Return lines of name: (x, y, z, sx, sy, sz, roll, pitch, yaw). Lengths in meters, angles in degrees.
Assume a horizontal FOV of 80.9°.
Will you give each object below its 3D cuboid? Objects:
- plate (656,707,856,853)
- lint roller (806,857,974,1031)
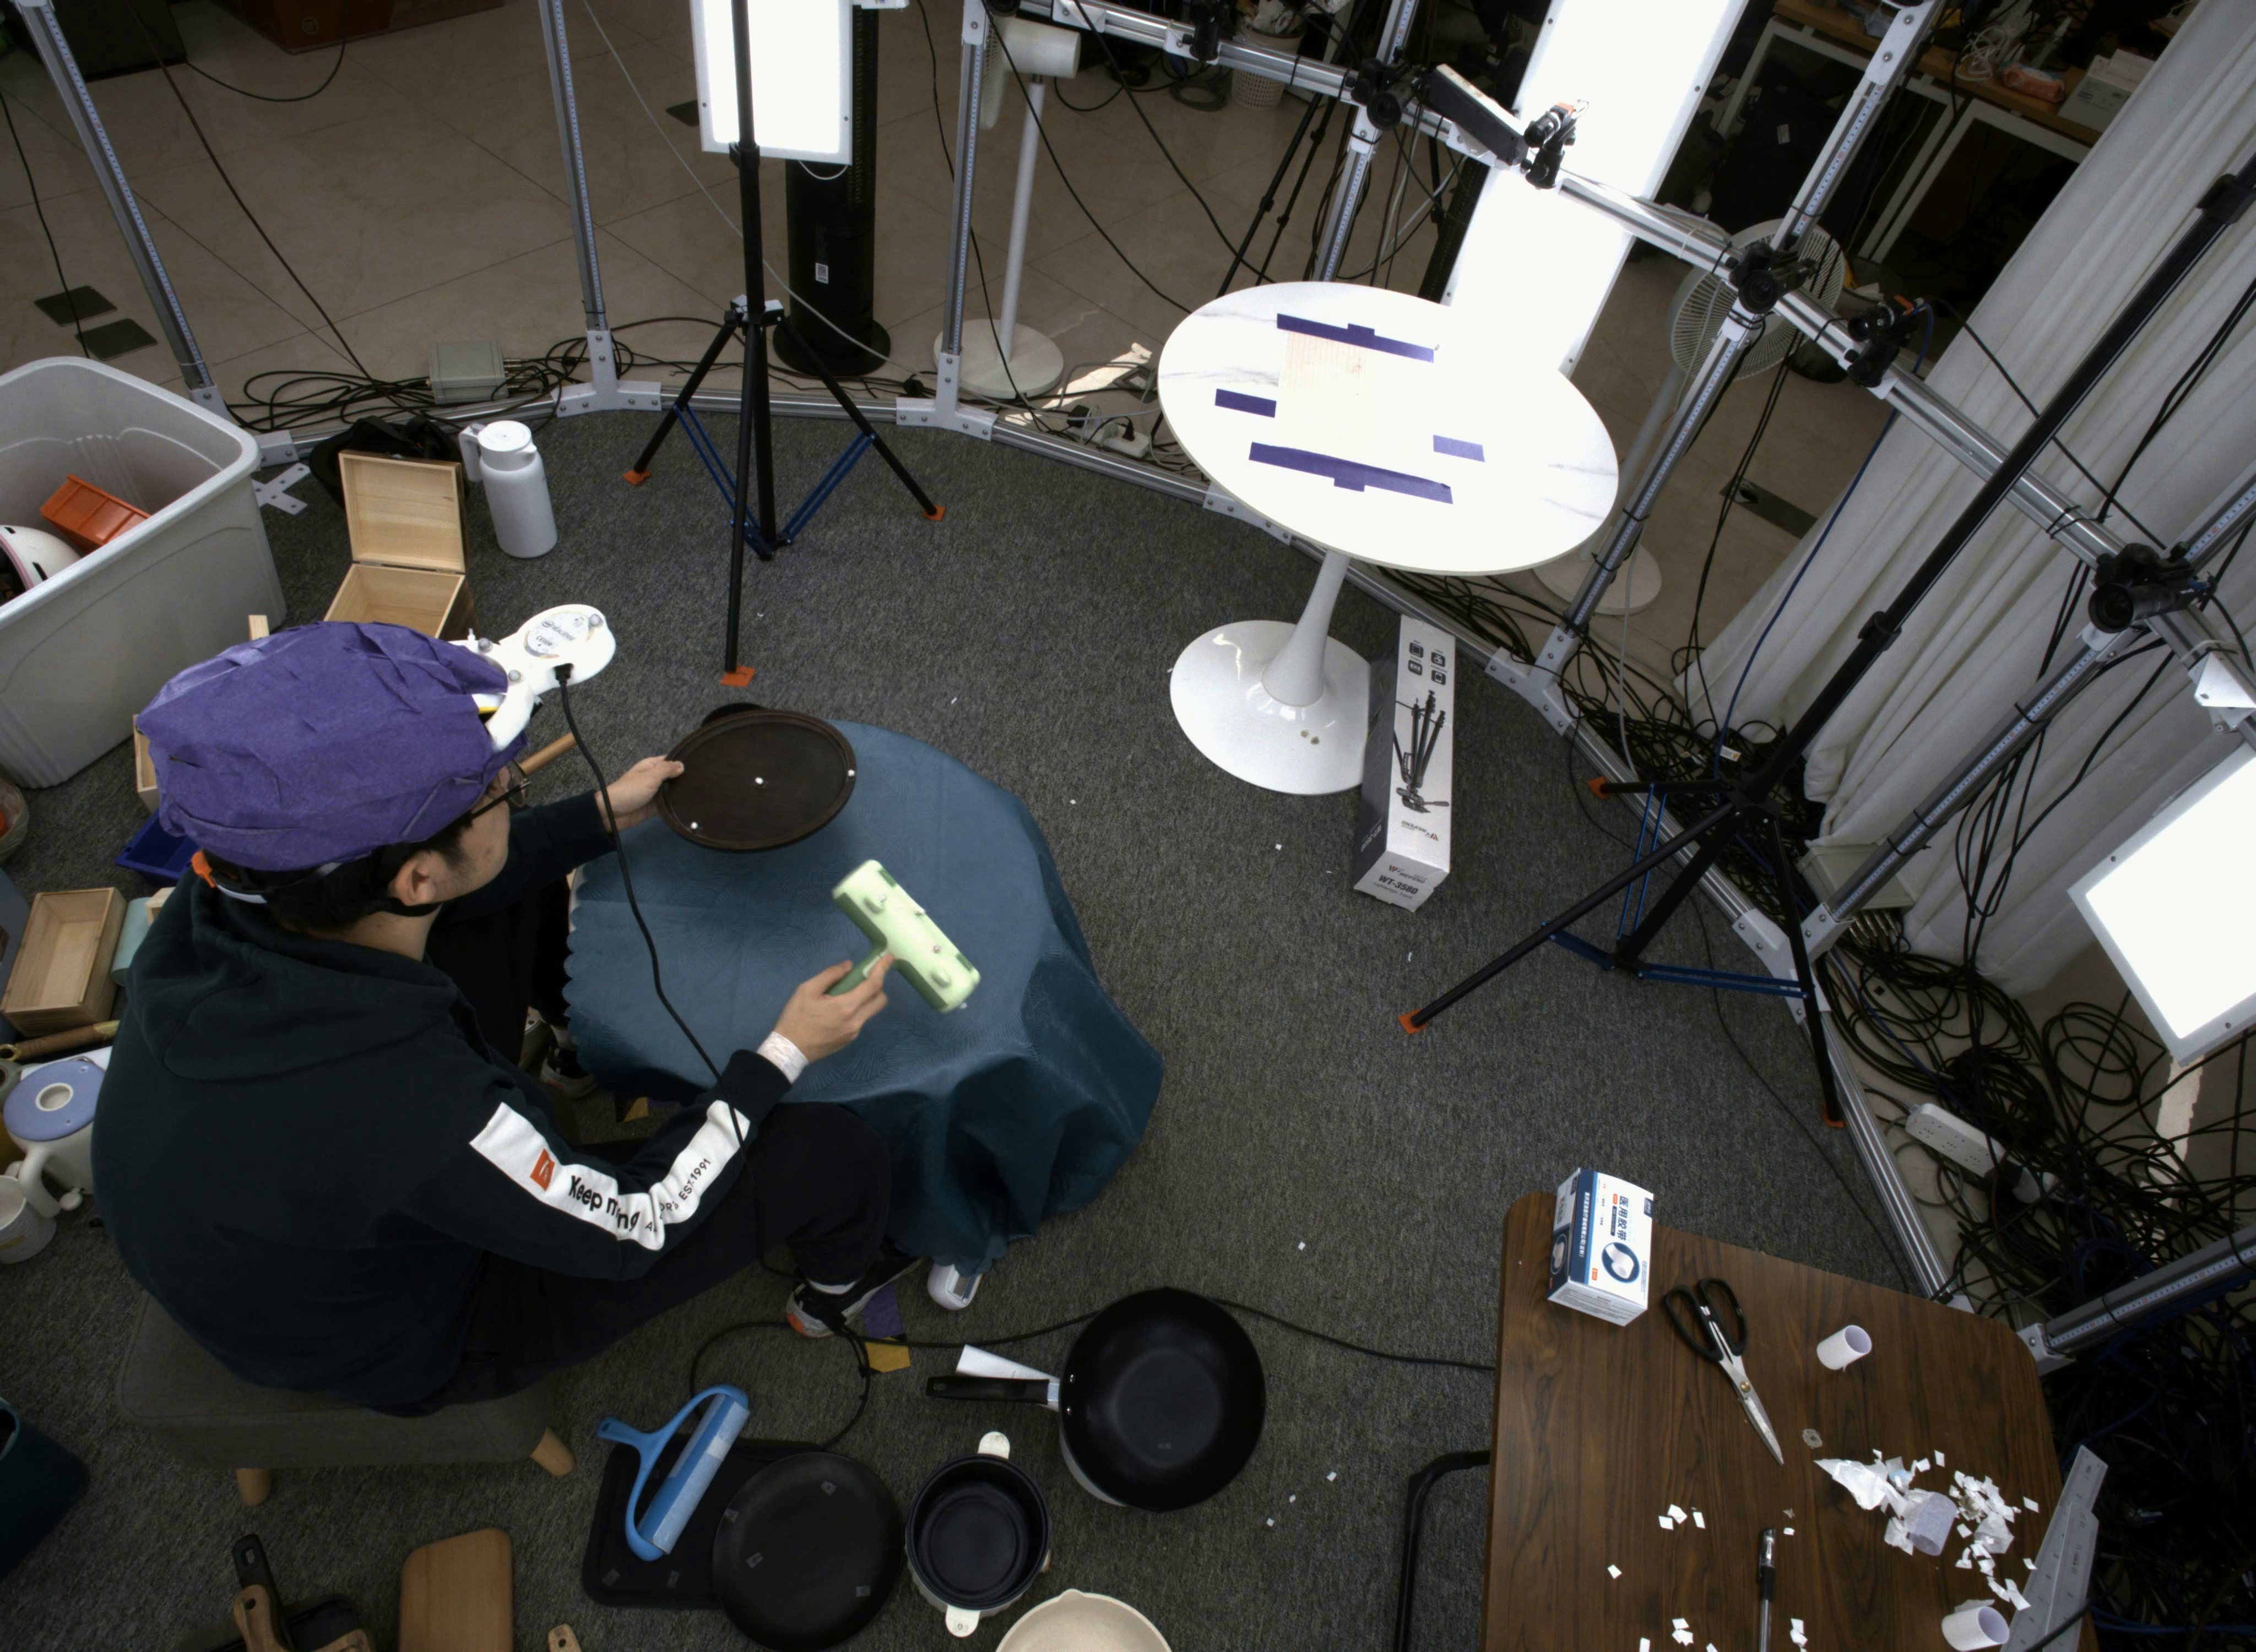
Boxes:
plate: (-0.469, -0.061, 1.632, 0.252, 0.030, 0.250, 3, 47, -2)
lint roller: (-0.297, 0.163, 1.498, 0.203, 0.080, 0.183, 50, 59, -16)
